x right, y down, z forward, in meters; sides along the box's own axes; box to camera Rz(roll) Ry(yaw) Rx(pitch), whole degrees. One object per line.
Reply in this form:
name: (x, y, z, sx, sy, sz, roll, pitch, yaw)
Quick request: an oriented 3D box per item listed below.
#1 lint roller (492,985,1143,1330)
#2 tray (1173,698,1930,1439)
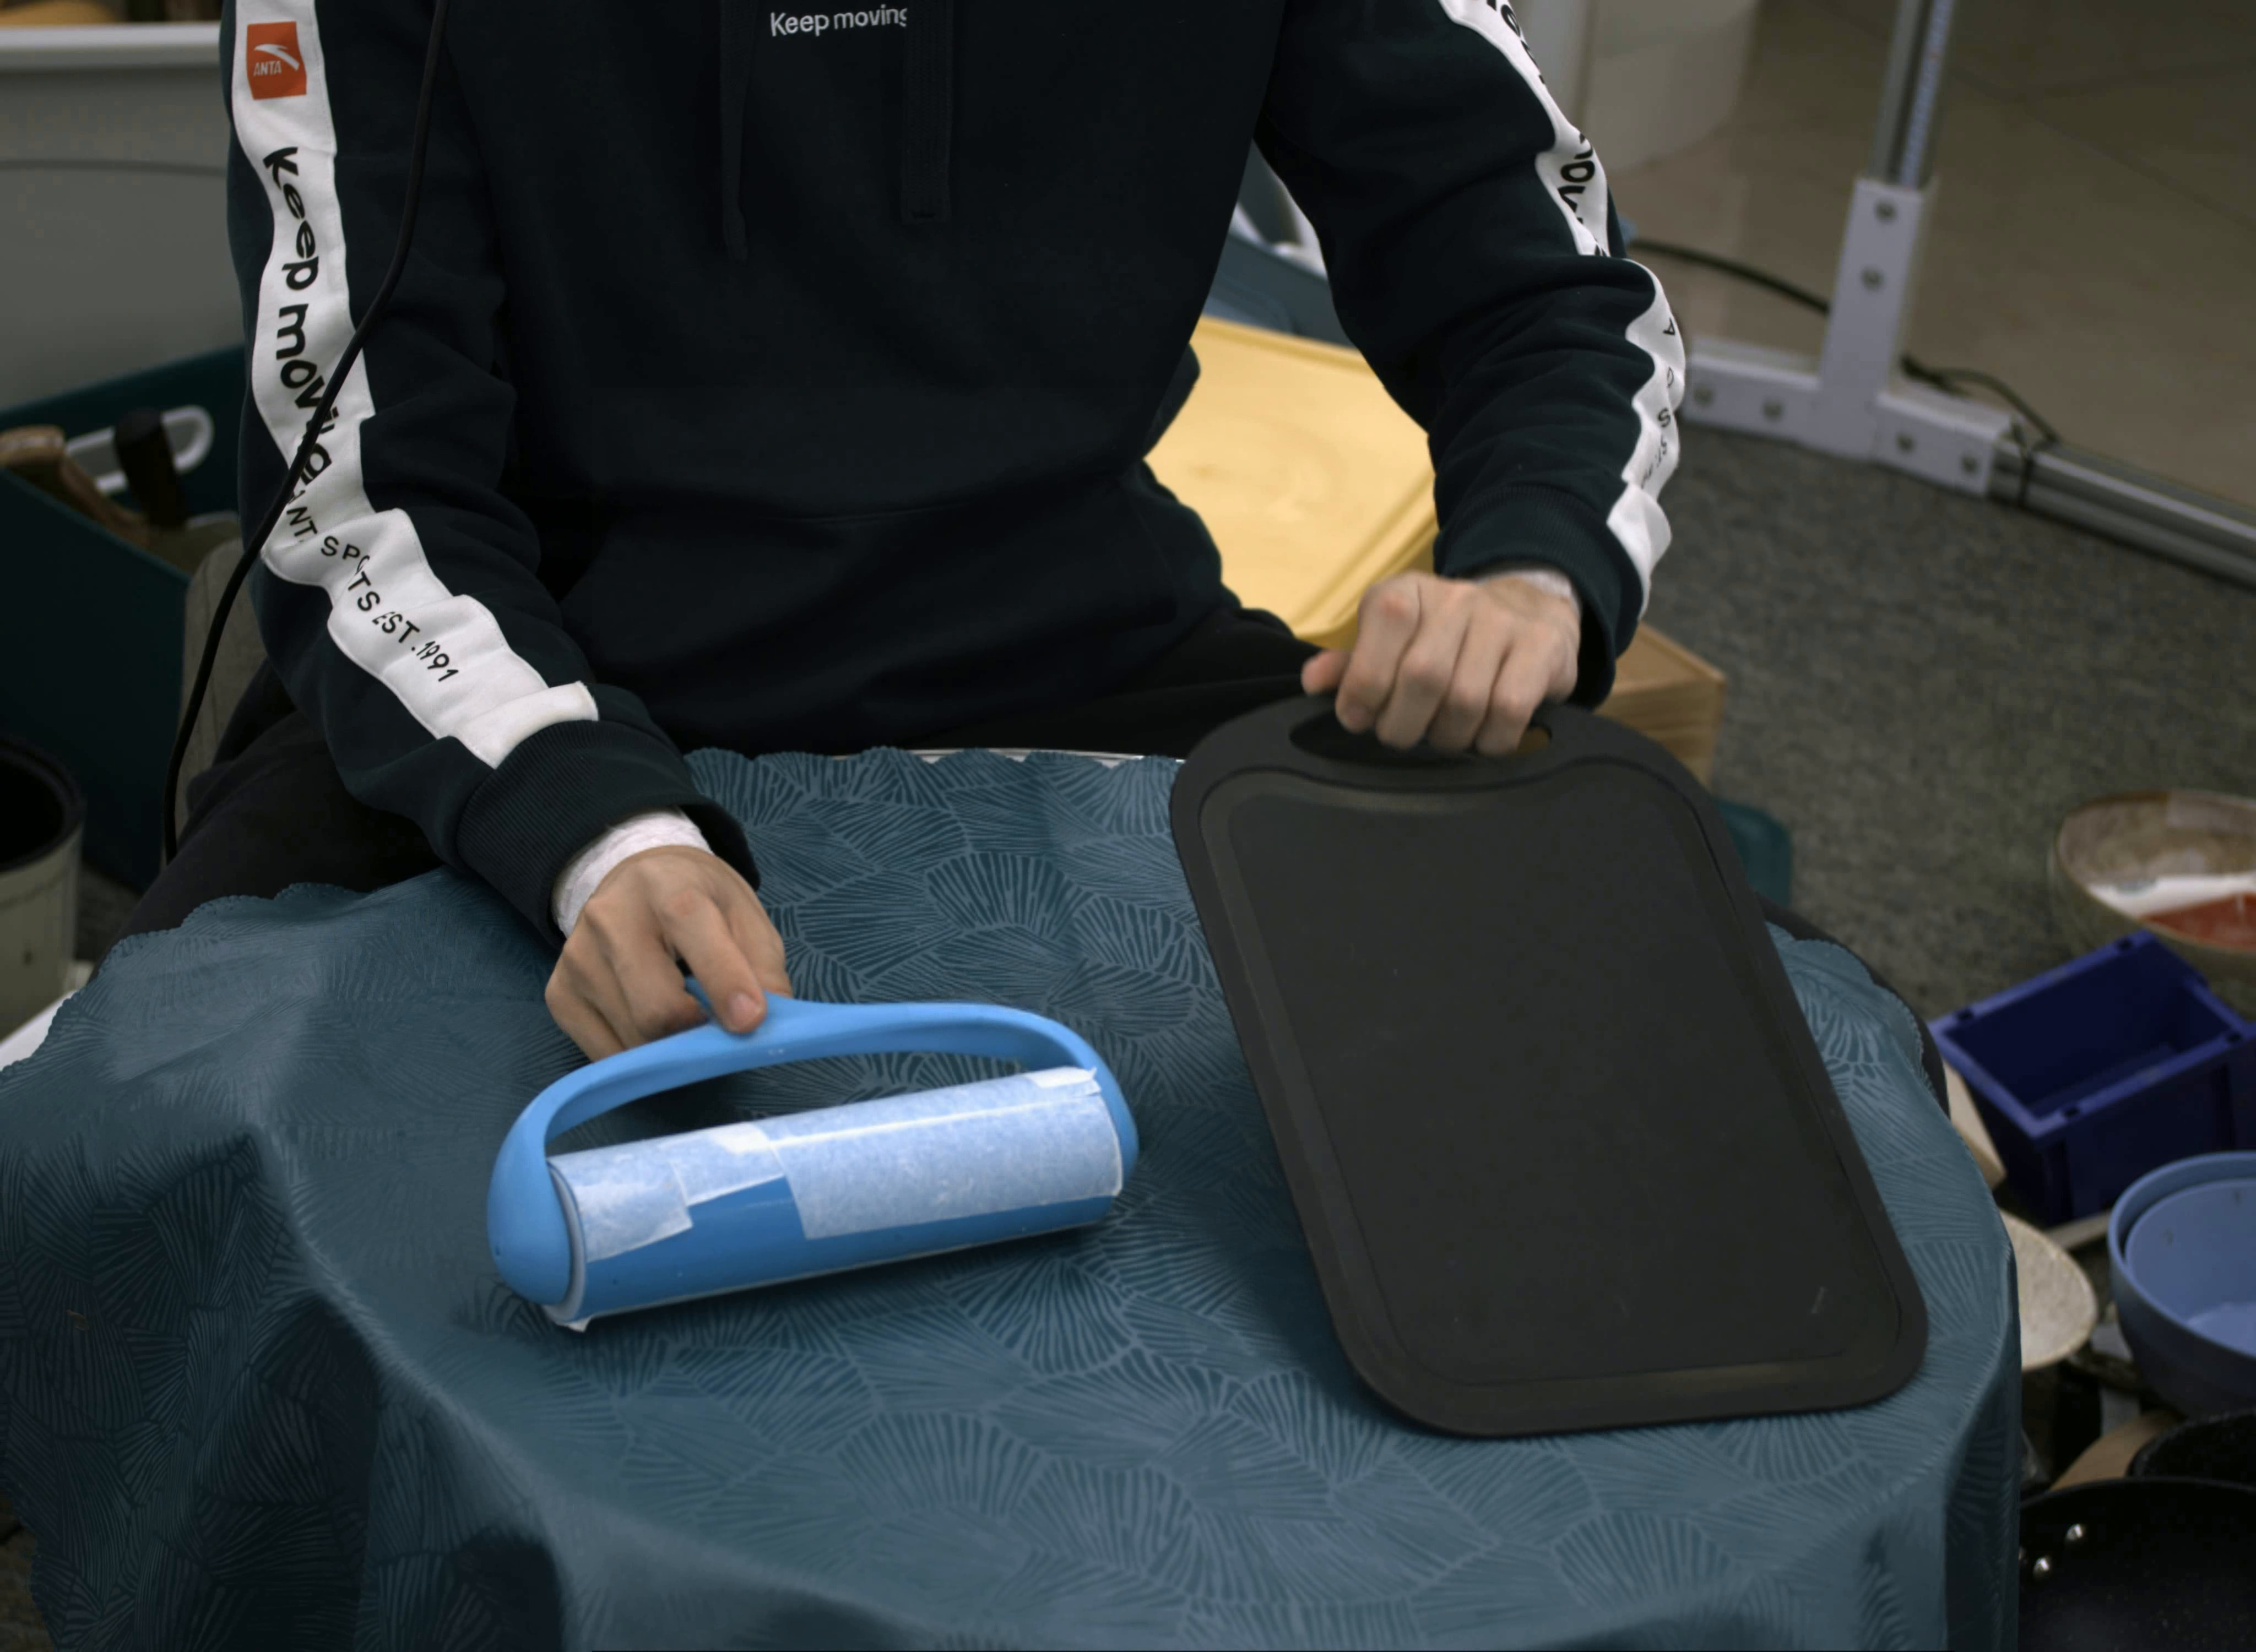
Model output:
lint roller: (-0.127, 0.089, 1.769, 0.227, 0.067, 0.182, -12, 35, -28)
tray: (0.137, 0.073, 1.803, 0.210, 0.010, 0.328, -1, 47, -18)
